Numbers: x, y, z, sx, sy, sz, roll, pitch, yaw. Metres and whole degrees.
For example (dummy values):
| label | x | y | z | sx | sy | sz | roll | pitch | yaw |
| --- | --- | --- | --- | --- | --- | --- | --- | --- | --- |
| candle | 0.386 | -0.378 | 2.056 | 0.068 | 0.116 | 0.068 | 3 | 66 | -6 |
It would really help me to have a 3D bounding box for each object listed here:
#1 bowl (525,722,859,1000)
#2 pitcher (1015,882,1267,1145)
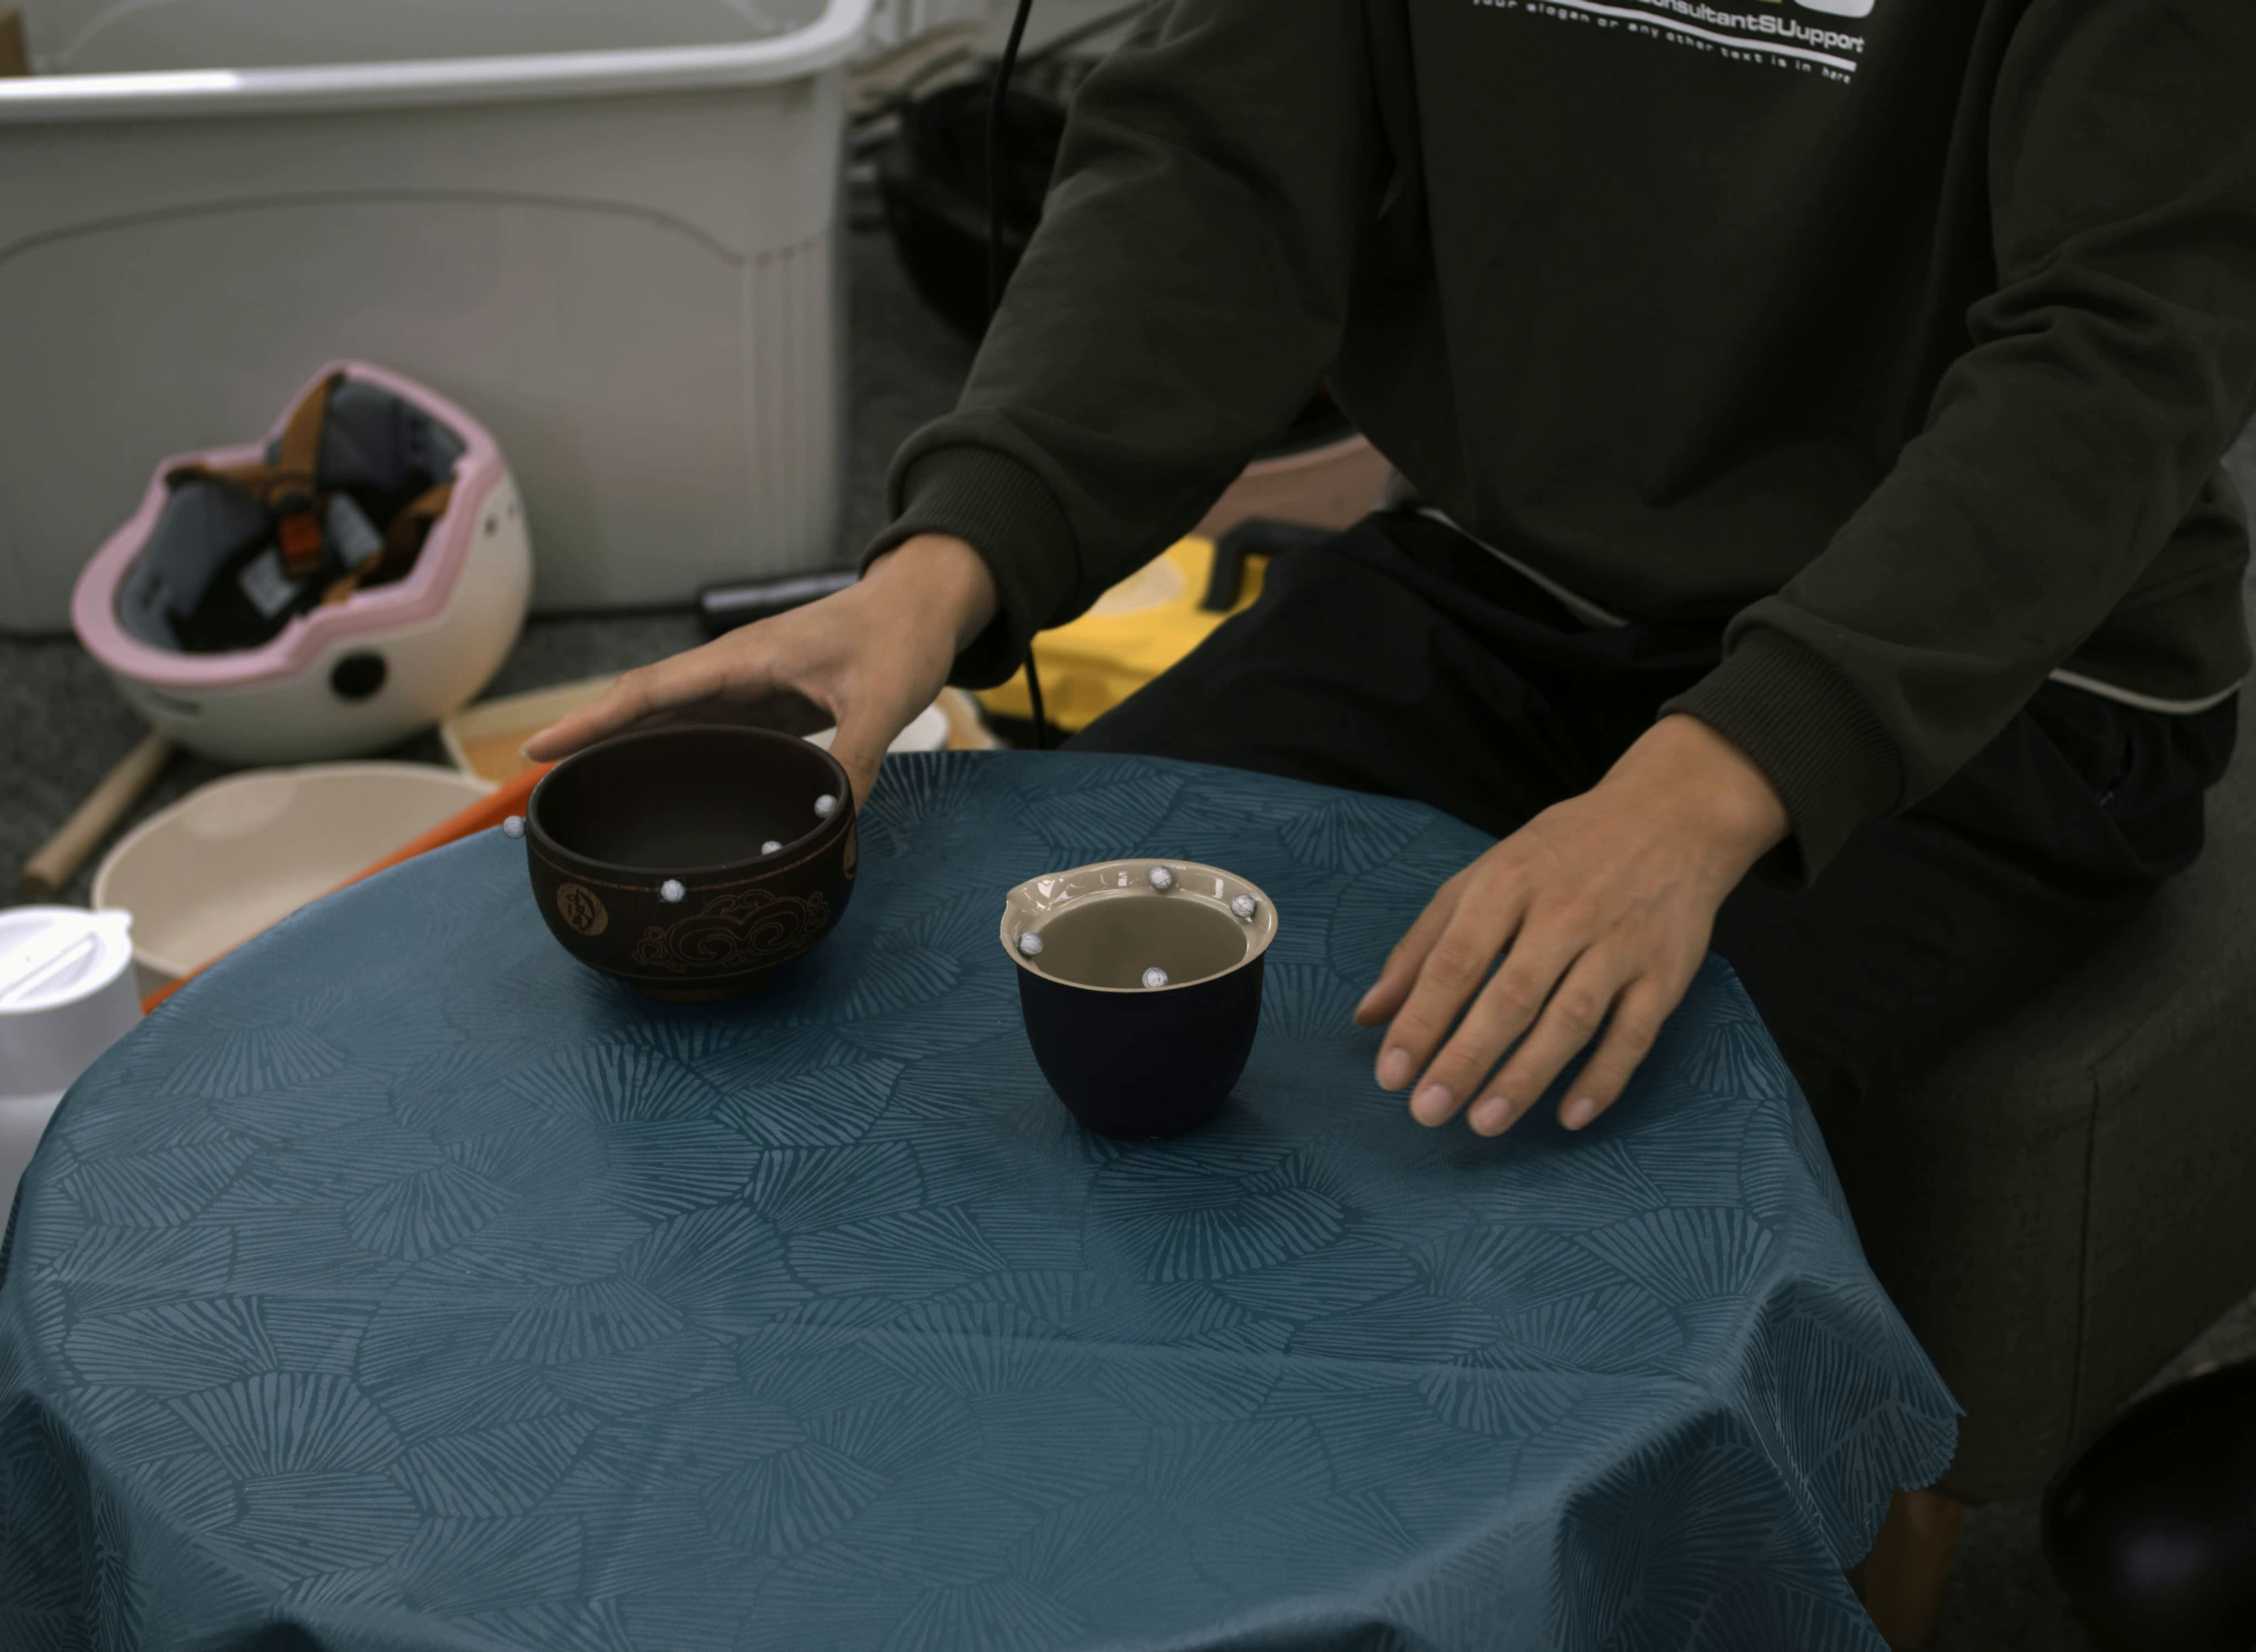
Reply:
| label | x | y | z | sx | sy | sz | roll | pitch | yaw |
| --- | --- | --- | --- | --- | --- | --- | --- | --- | --- |
| bowl | -0.154 | 0.019 | 1.998 | 0.117 | 0.069 | 0.120 | -1 | 26 | 1 |
| pitcher | 0.003 | 0.064 | 1.899 | 0.096 | 0.070 | 0.085 | 20 | 37 | 40 |
